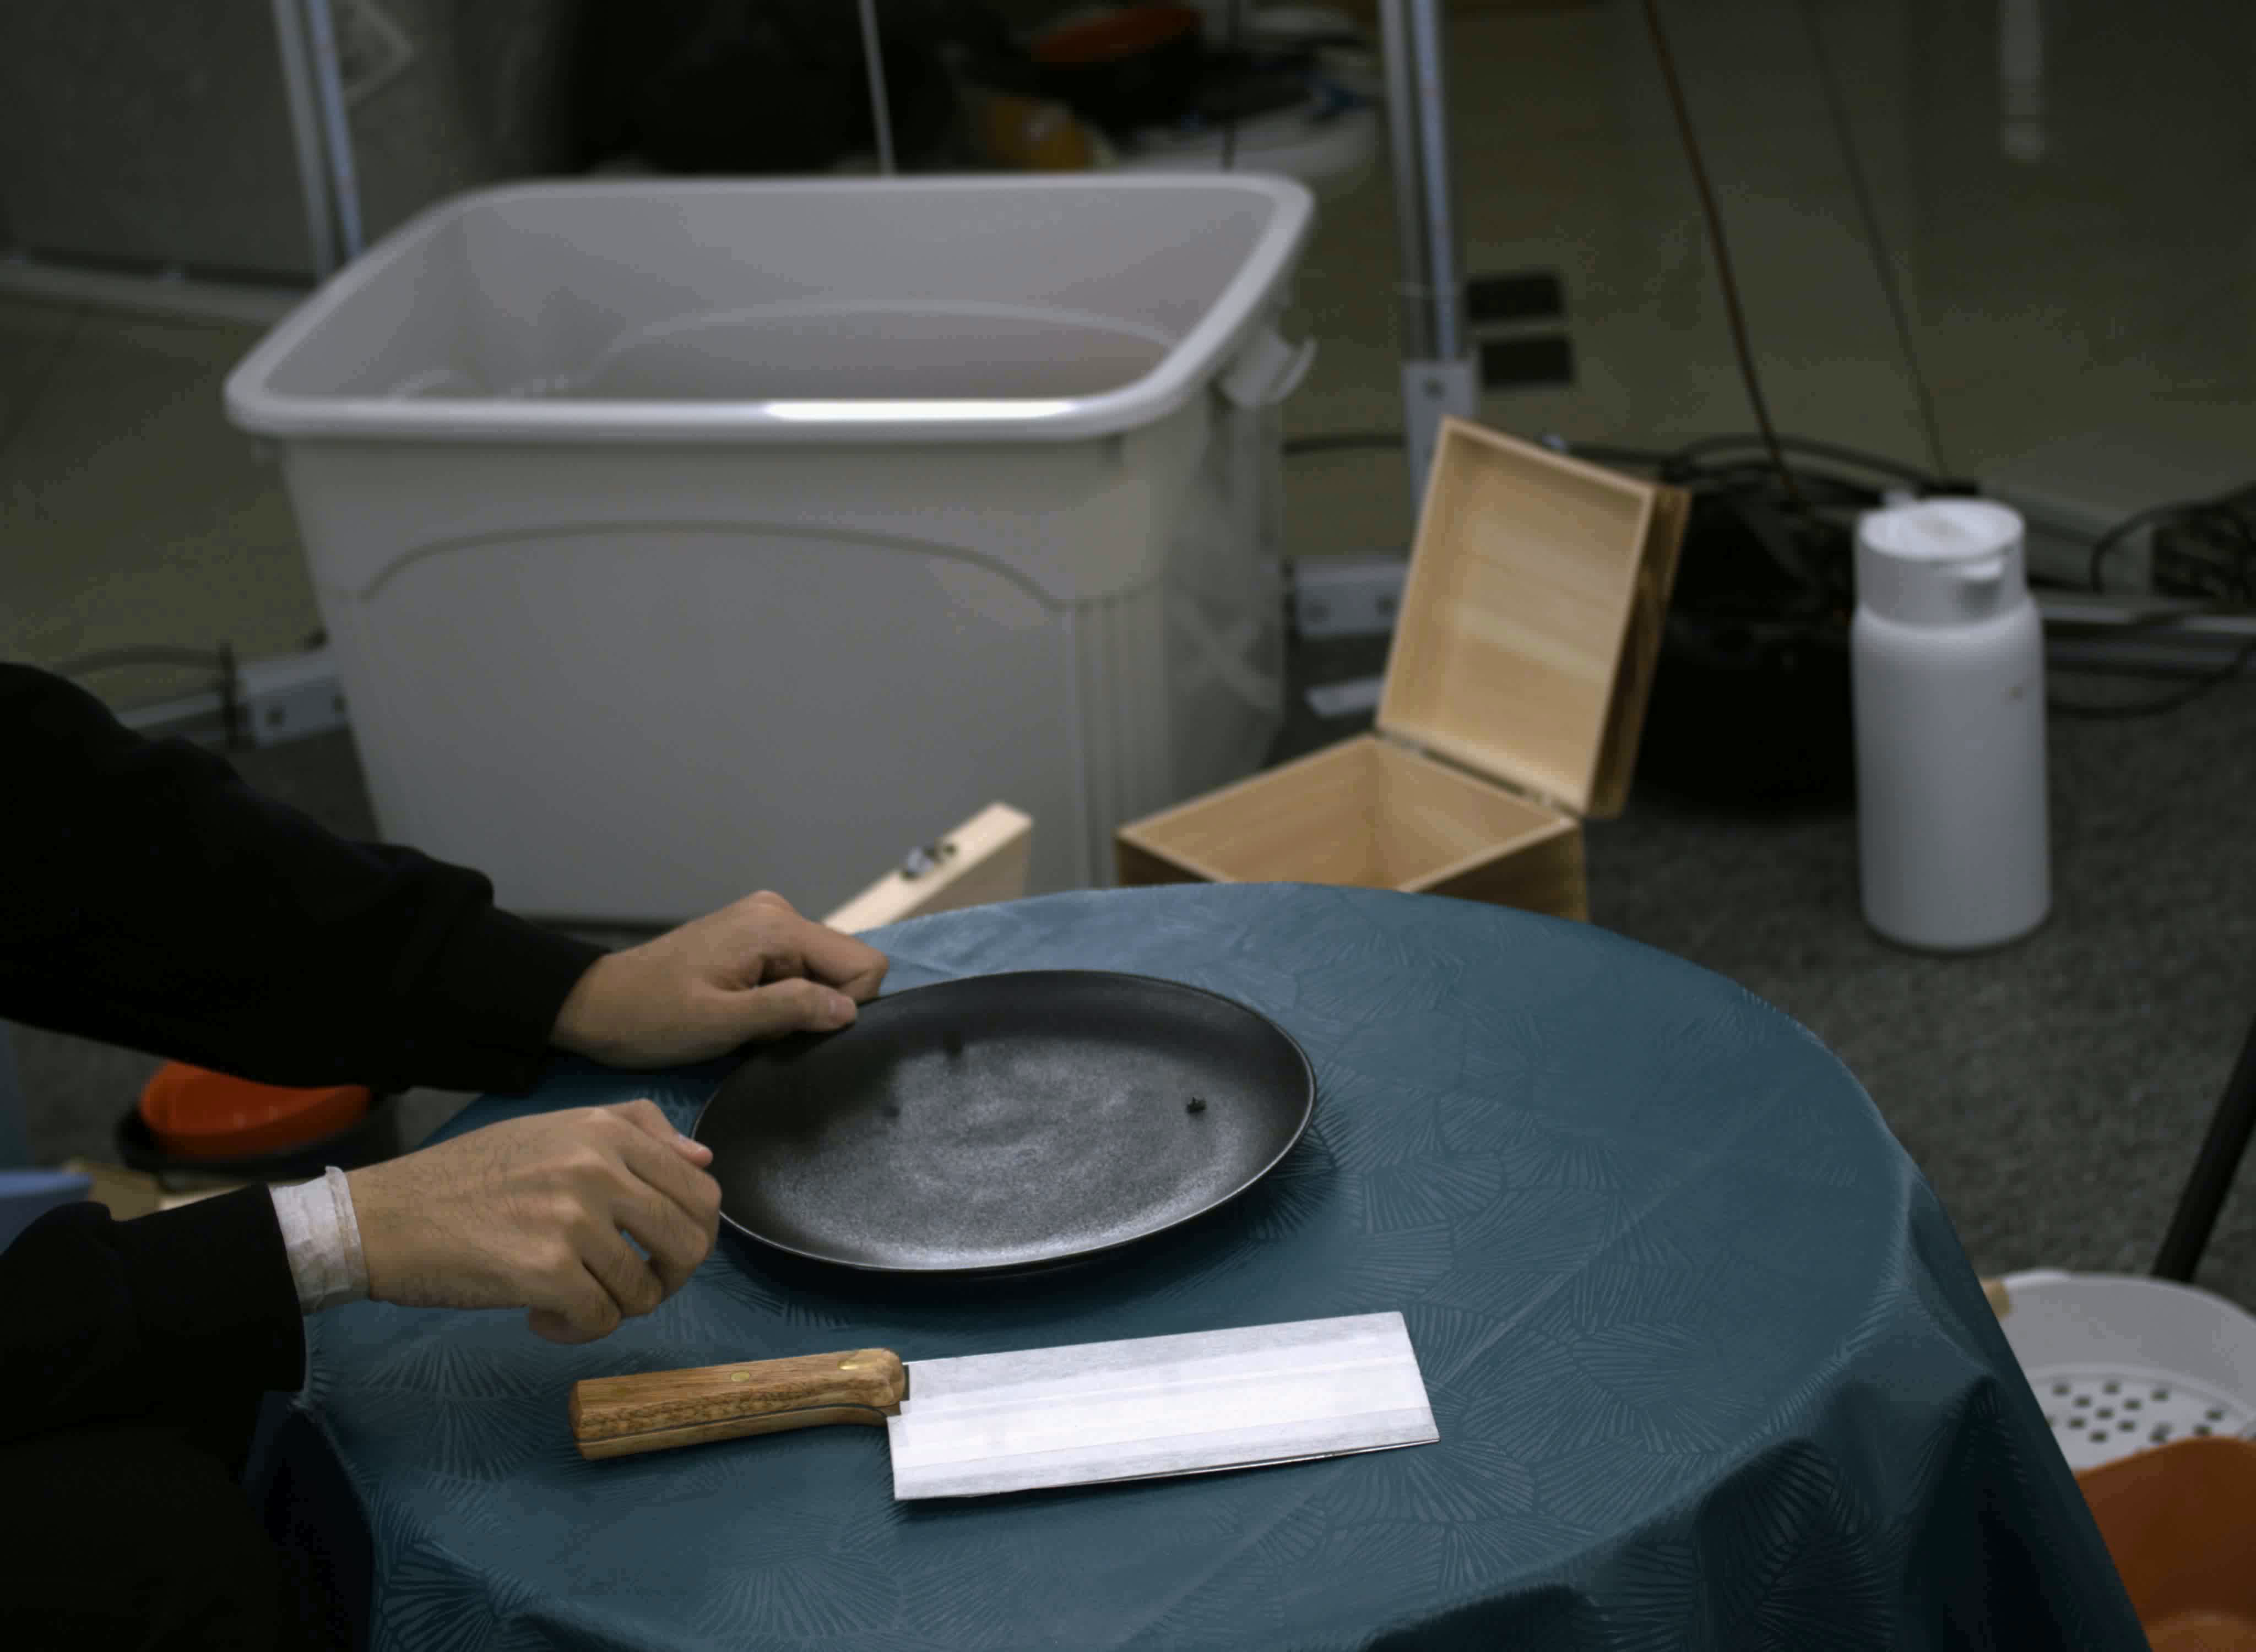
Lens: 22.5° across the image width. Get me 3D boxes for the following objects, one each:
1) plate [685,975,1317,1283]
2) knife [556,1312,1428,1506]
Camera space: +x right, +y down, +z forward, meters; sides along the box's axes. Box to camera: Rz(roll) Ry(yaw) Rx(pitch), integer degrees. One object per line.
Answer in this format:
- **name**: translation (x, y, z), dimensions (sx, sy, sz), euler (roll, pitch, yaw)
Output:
- **plate**: translation (-0.048, 0.120, 2.171), dimensions (0.244, 0.024, 0.241), euler (-5, 25, 3)
- **knife**: translation (-0.048, 0.208, 1.993), dimensions (0.305, 0.021, 0.091), euler (-6, 27, -4)
